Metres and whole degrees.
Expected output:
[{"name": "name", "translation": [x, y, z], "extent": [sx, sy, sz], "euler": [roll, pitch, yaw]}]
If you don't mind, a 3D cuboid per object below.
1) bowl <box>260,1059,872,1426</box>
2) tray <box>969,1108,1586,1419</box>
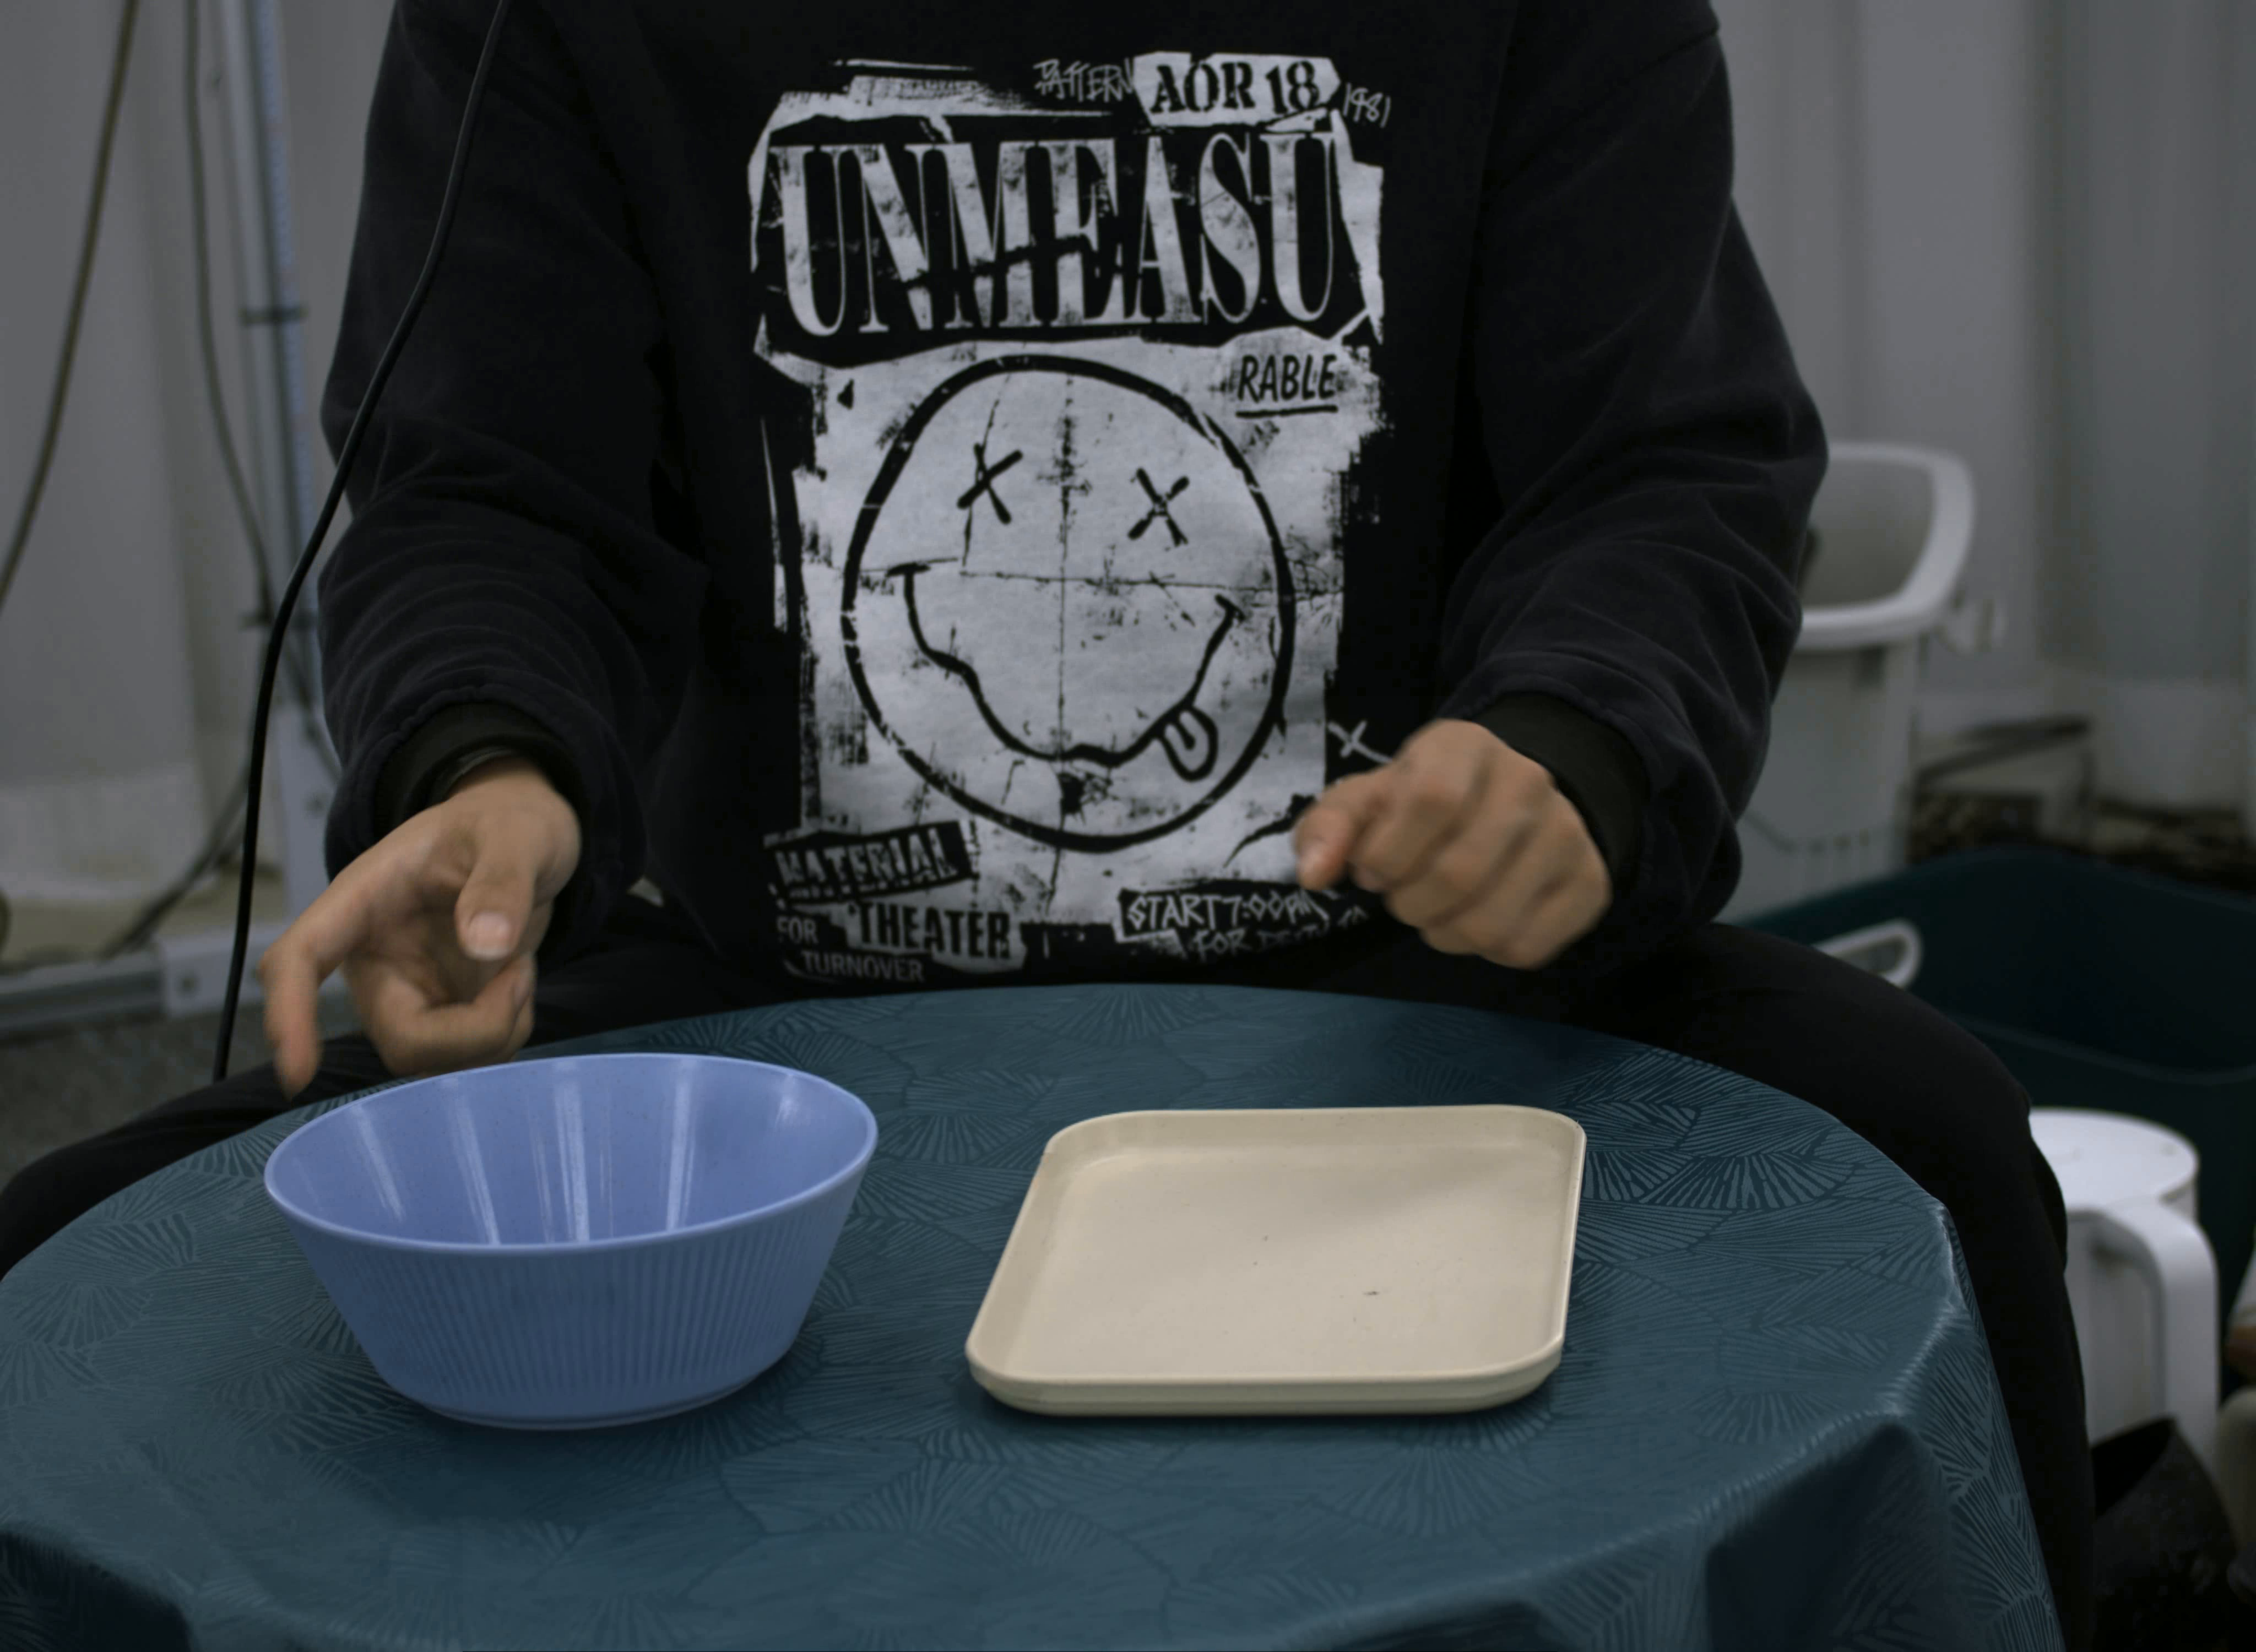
[{"name": "bowl", "translation": [-0.160, 0.123, 1.579], "extent": [0.175, 0.070, 0.177], "euler": [-2, 15, 0]}, {"name": "tray", "translation": [0.049, 0.129, 1.620], "extent": [0.171, 0.017, 0.241], "euler": [0, 15, 7]}]
